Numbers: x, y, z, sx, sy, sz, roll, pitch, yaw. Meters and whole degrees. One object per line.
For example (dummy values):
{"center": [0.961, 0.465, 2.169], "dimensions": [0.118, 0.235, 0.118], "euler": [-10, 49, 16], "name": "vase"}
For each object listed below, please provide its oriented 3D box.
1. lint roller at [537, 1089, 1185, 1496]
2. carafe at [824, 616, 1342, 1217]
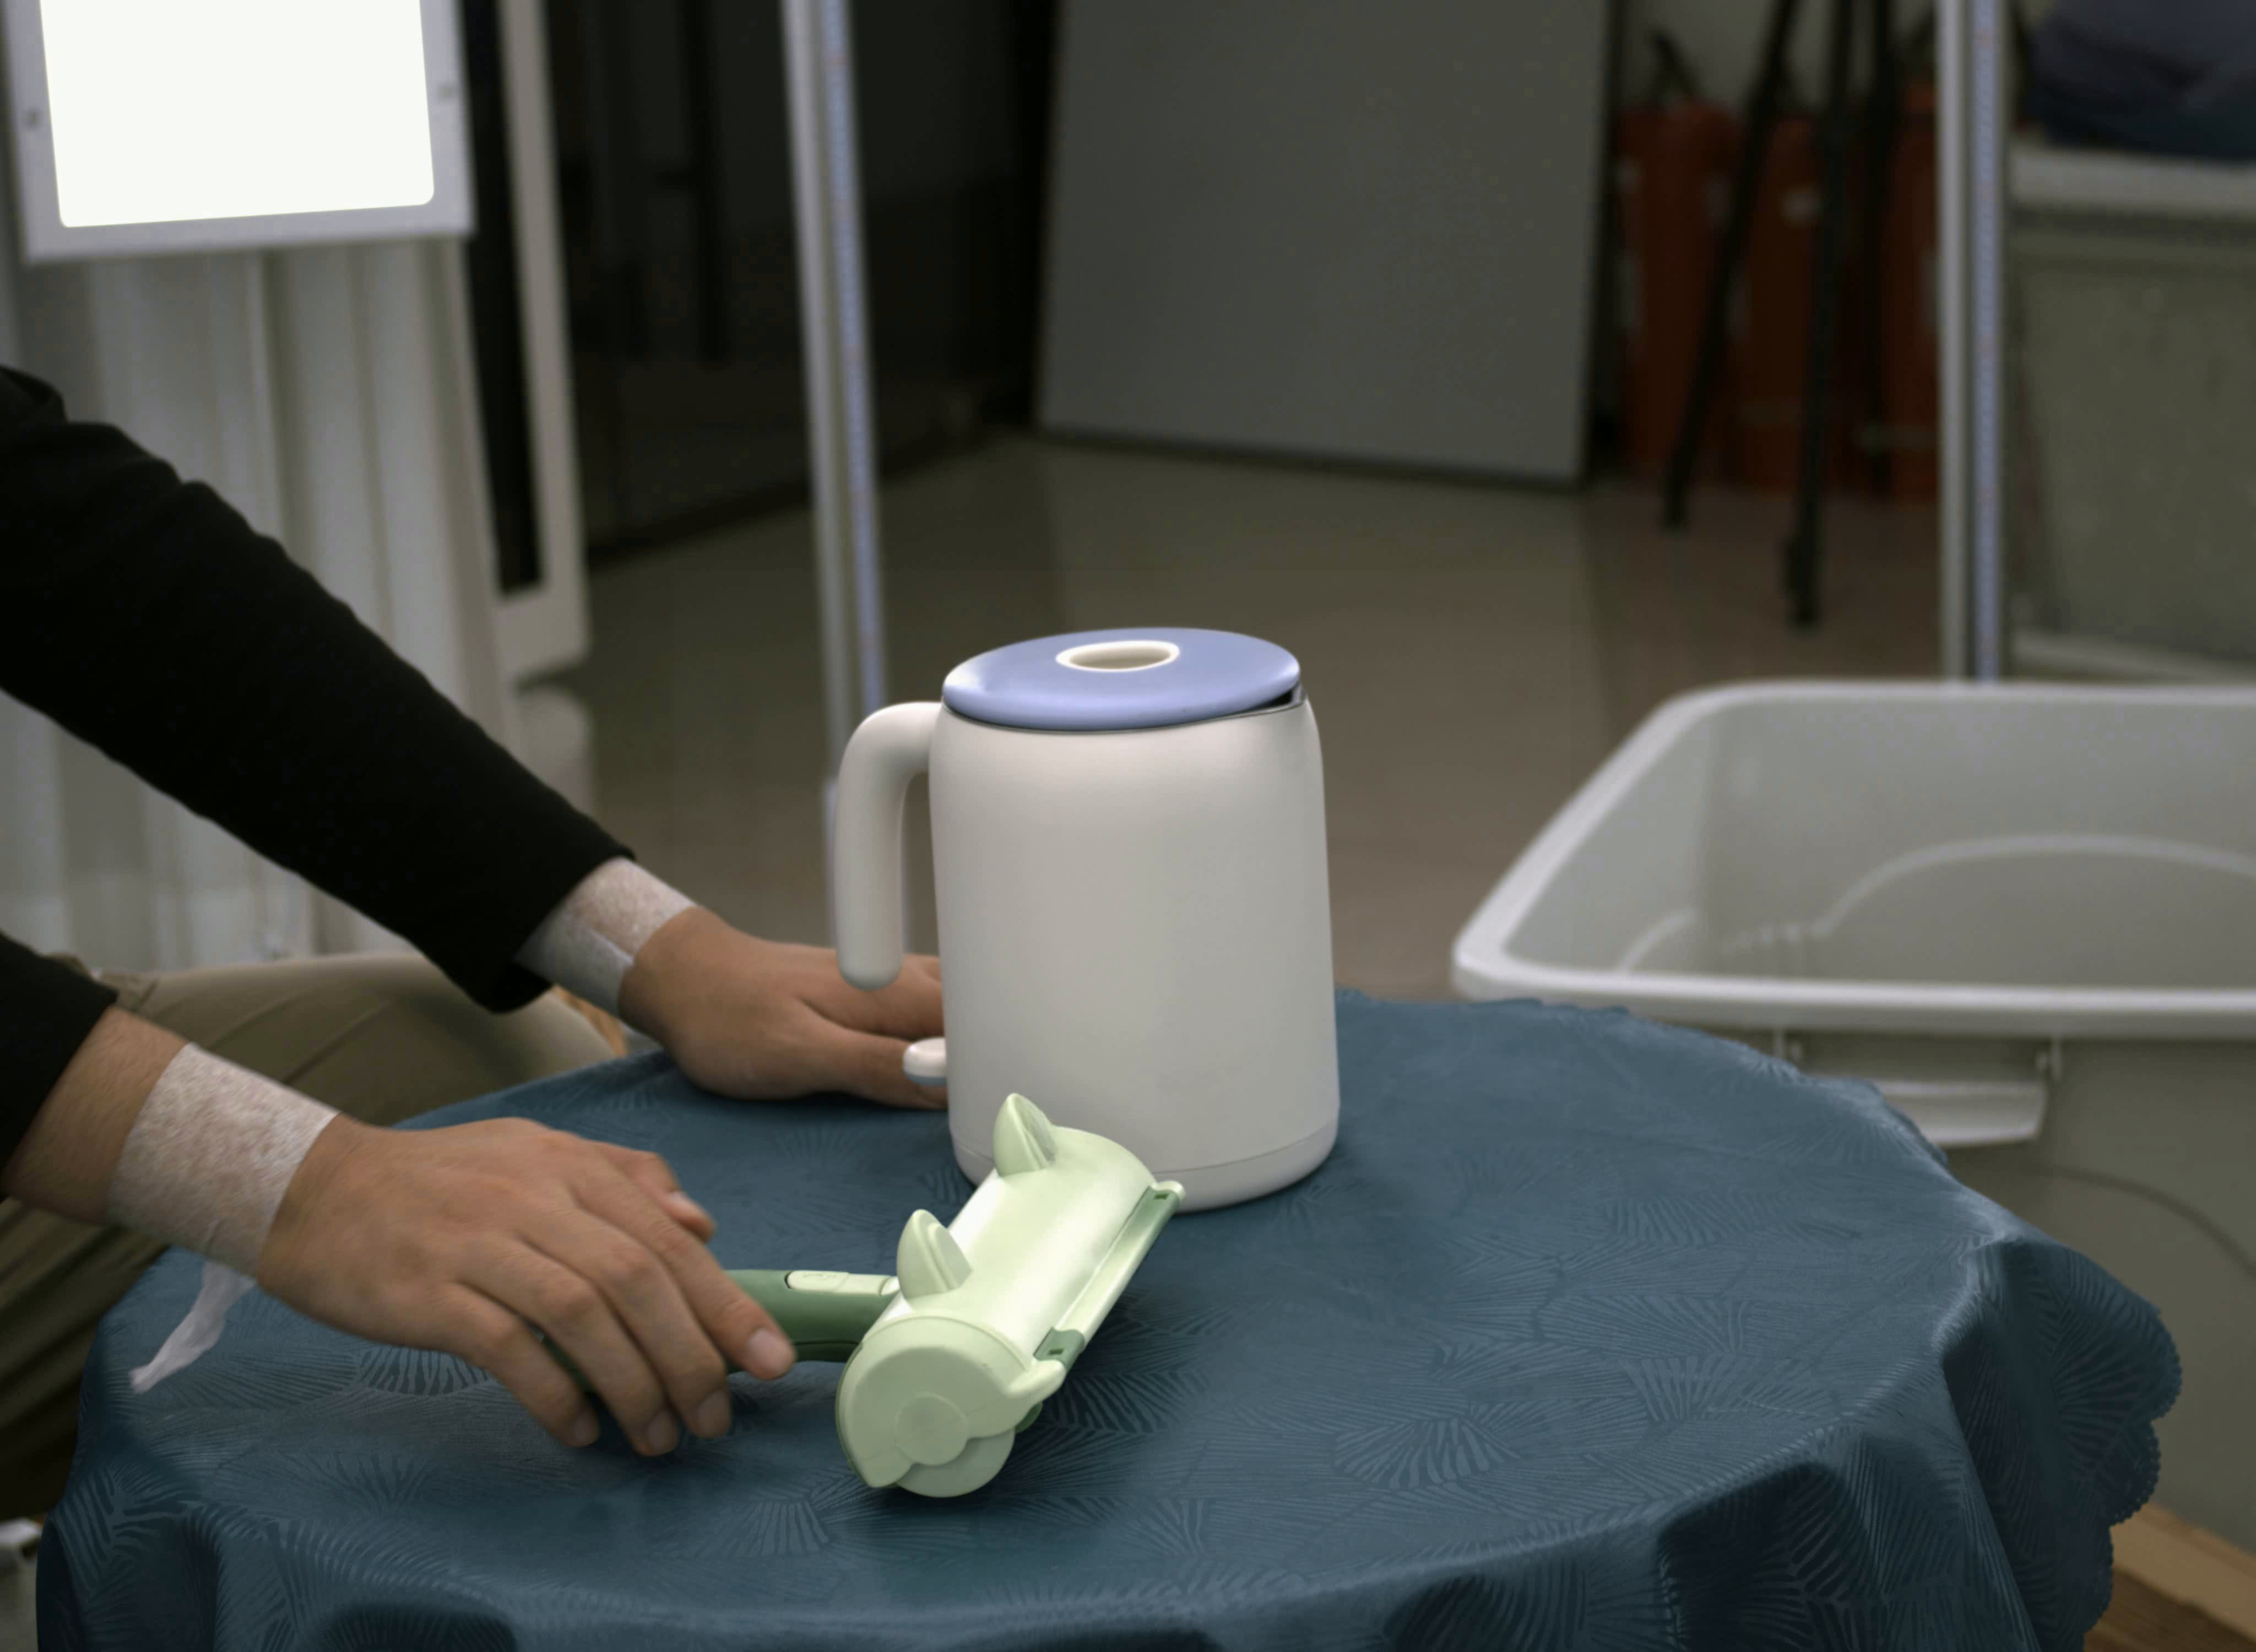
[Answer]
{"center": [-0.089, 0.132, 1.592], "dimensions": [0.182, 0.083, 0.197], "euler": [2, 13, 13], "name": "lint roller"}
{"center": [-0.019, 0.028, 1.790], "dimensions": [0.192, 0.184, 0.130], "euler": [2, 14, 31], "name": "carafe"}
